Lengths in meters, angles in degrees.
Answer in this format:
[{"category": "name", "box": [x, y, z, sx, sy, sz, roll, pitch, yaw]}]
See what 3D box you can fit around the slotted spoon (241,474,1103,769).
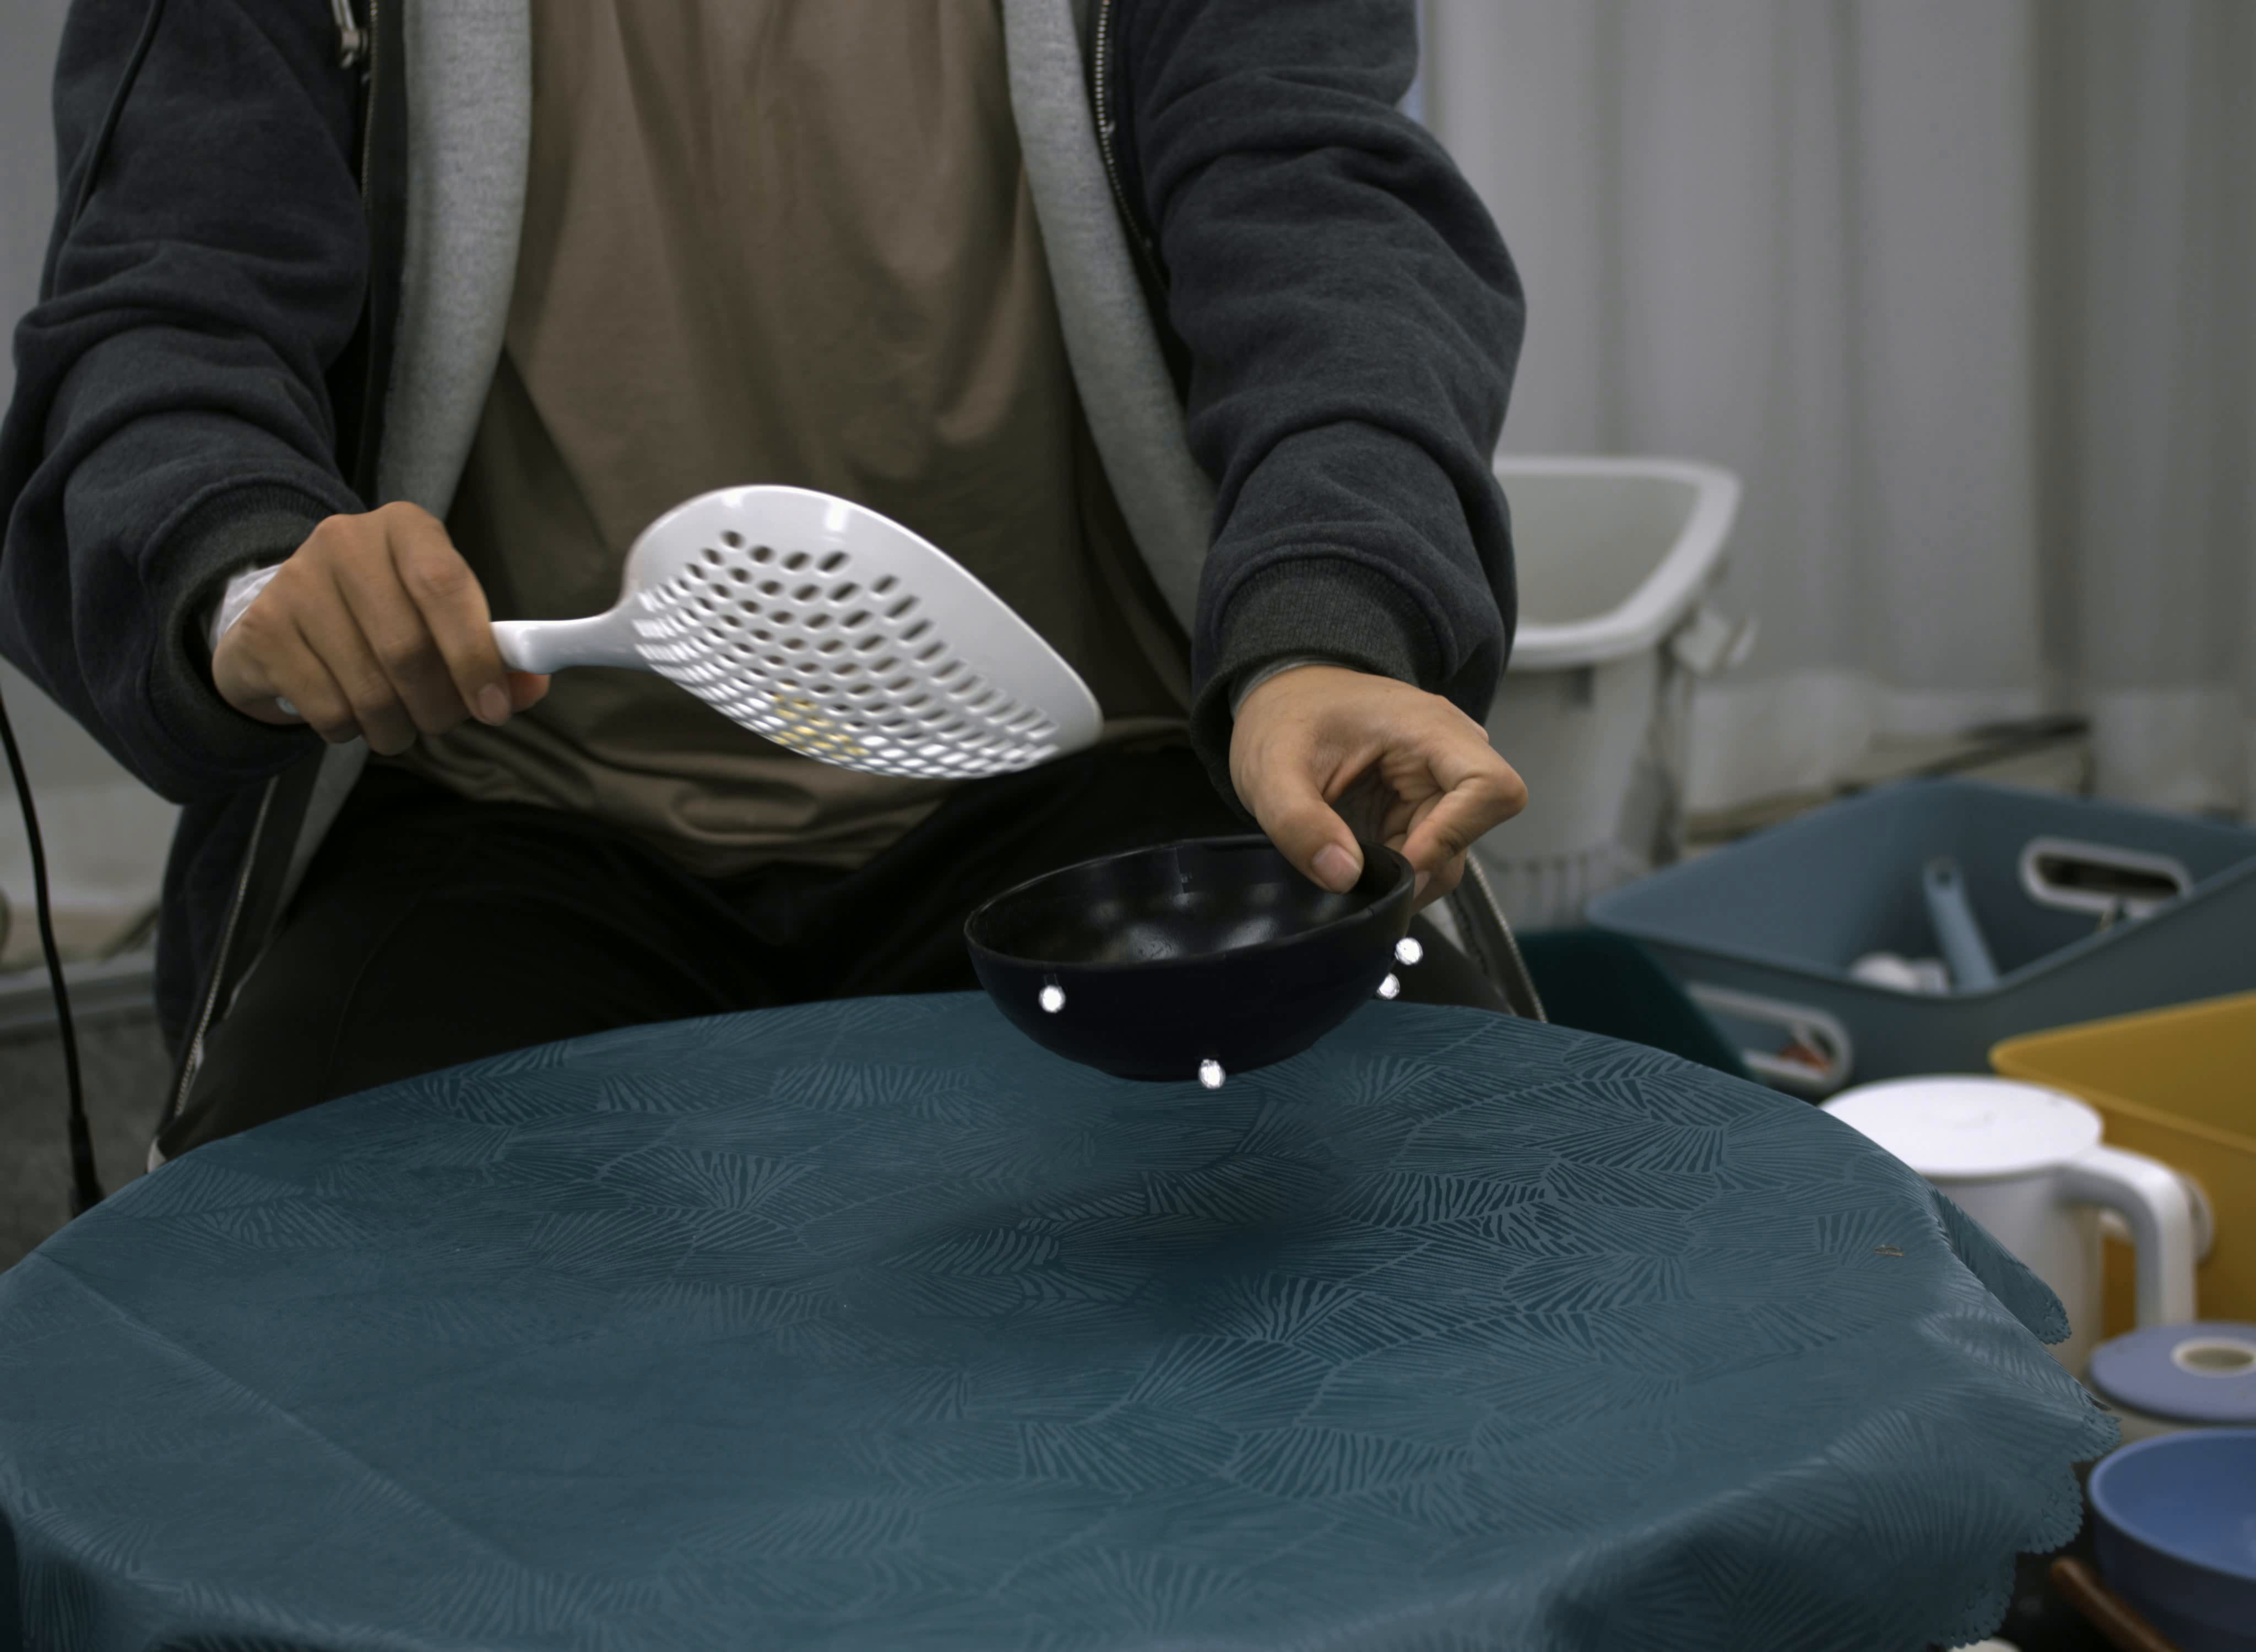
[{"category": "slotted spoon", "box": [-0.153, -0.049, 1.660, 0.349, 0.051, 0.135, 2, -30, 48]}]
